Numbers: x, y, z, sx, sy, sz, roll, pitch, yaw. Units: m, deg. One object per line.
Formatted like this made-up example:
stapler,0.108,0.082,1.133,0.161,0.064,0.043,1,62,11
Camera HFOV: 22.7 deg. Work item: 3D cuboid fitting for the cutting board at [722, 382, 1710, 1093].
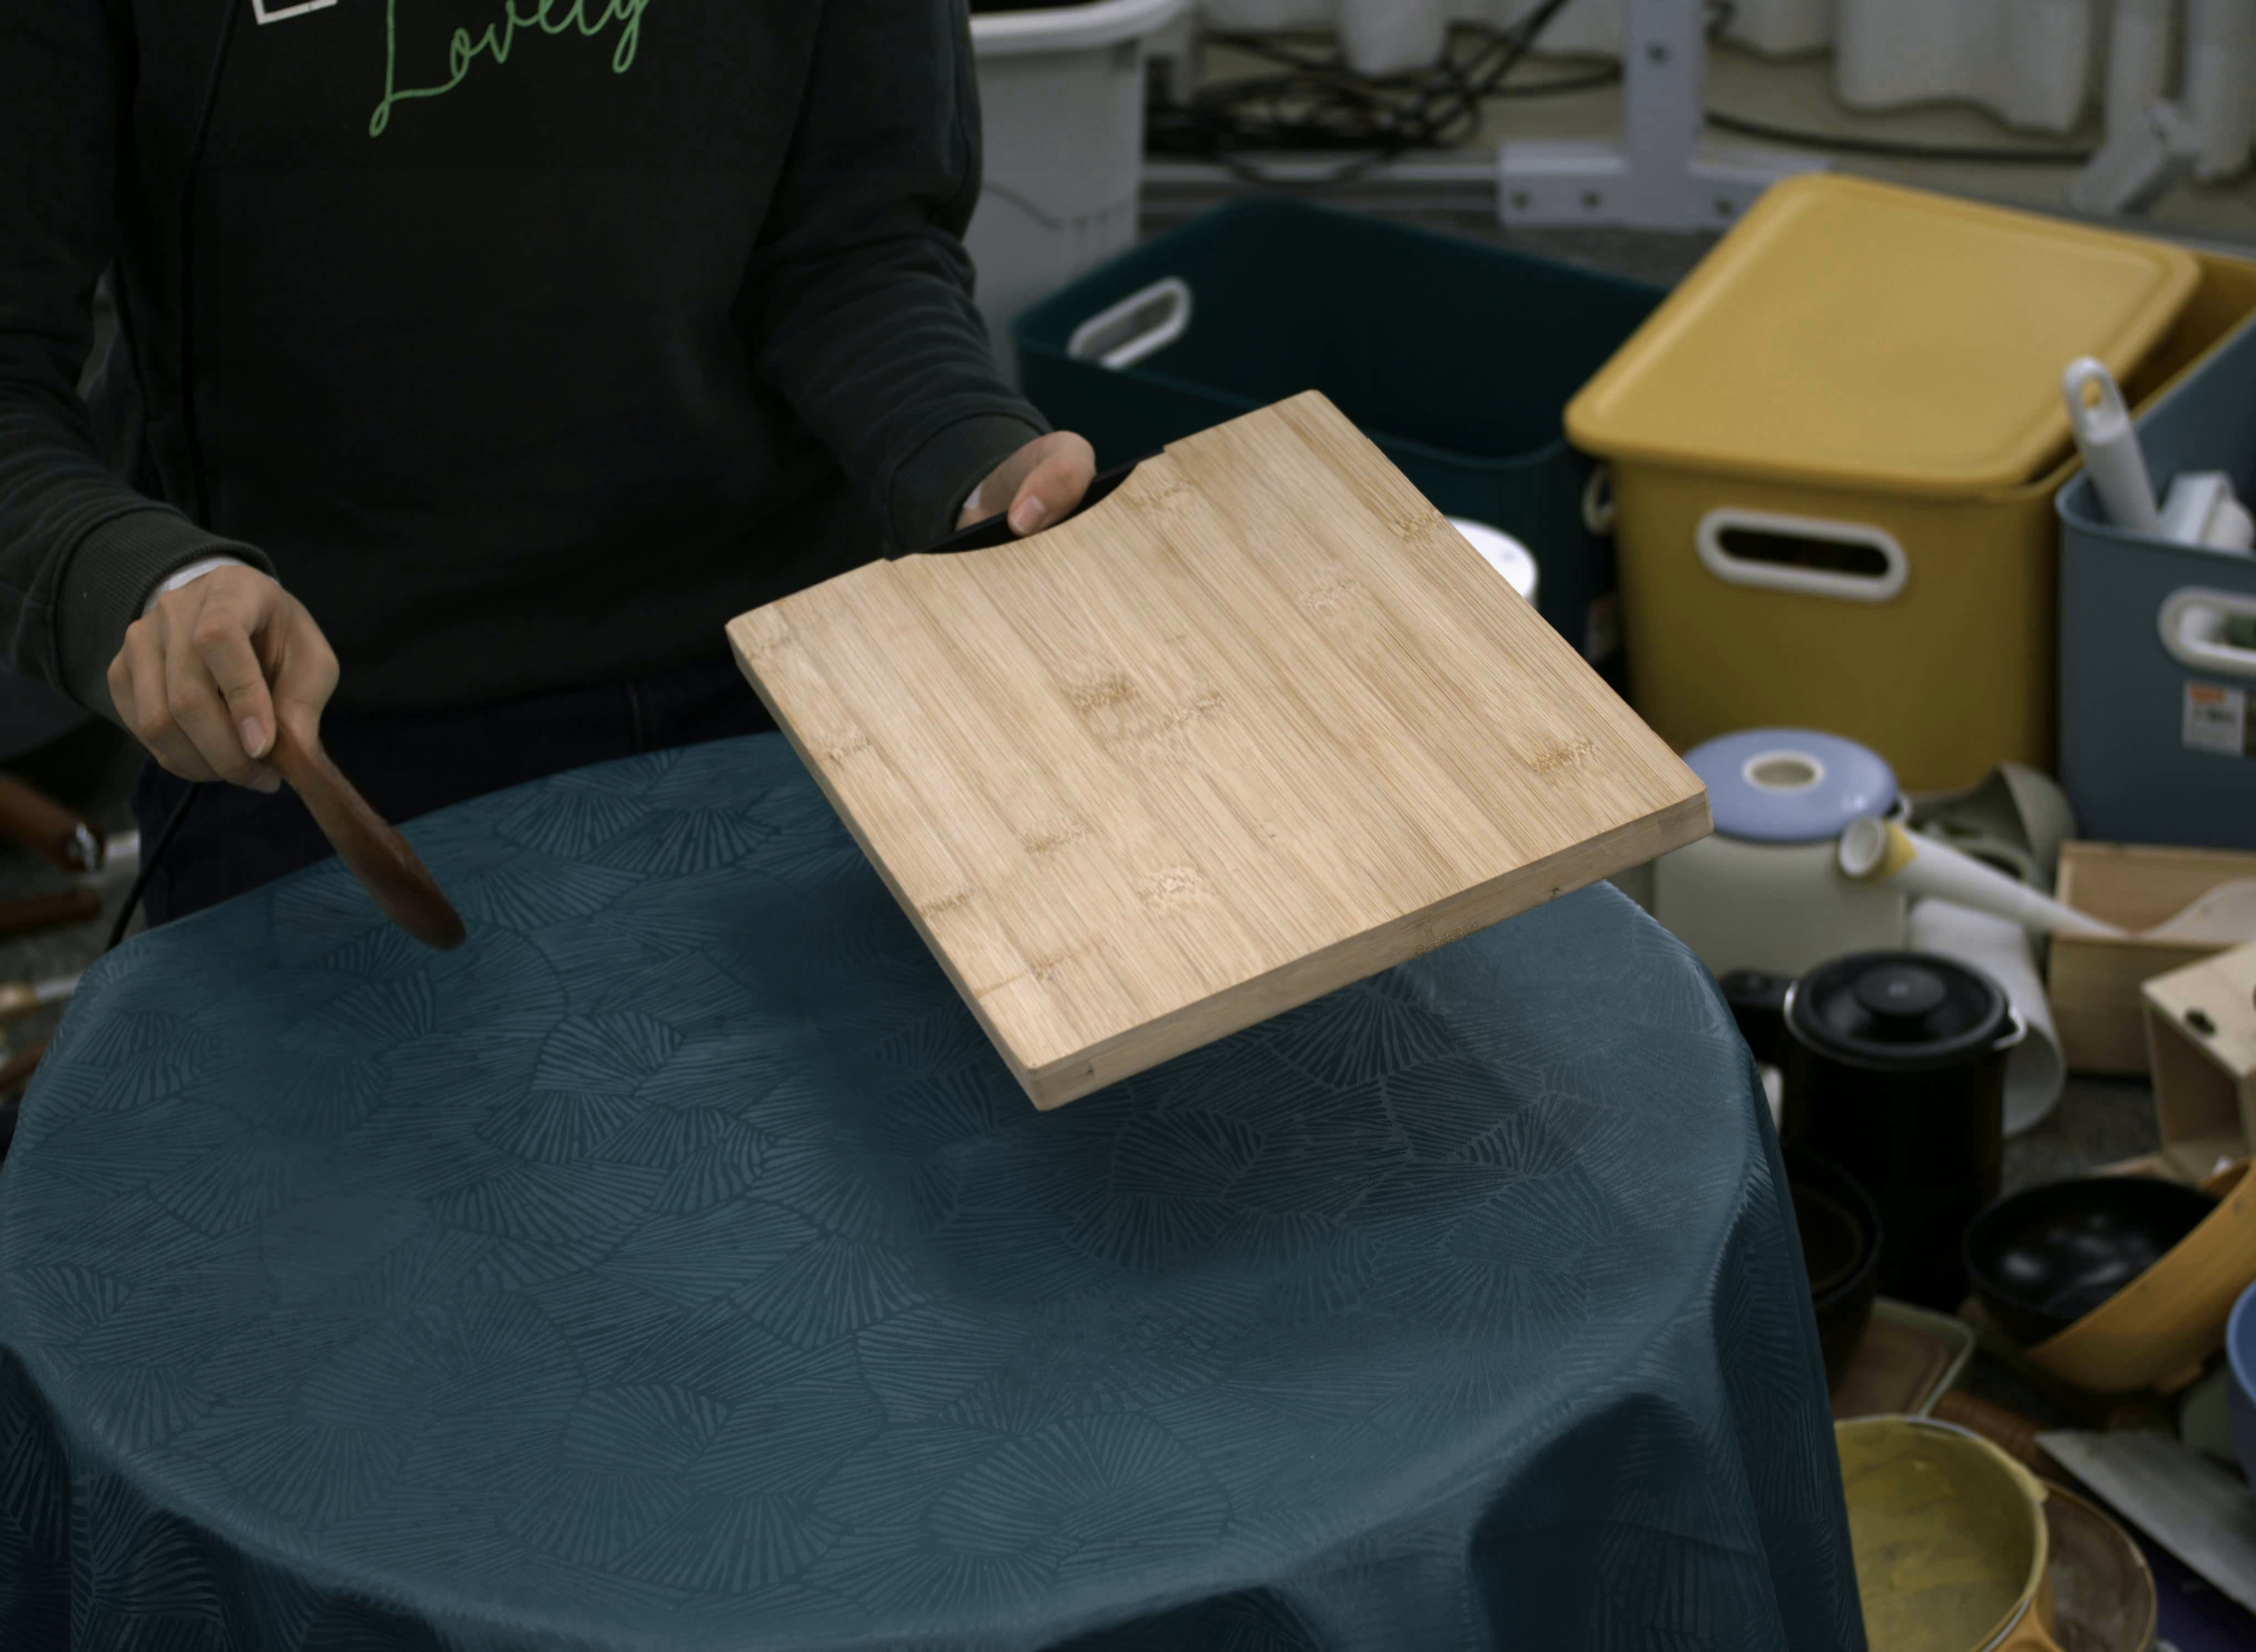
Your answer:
cutting board,0.020,-0.038,1.930,0.251,0.023,0.351,-22,32,-12

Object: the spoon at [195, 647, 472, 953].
spoon,-0.270,-0.012,1.871,0.017,0.075,0.217,-37,35,-9
